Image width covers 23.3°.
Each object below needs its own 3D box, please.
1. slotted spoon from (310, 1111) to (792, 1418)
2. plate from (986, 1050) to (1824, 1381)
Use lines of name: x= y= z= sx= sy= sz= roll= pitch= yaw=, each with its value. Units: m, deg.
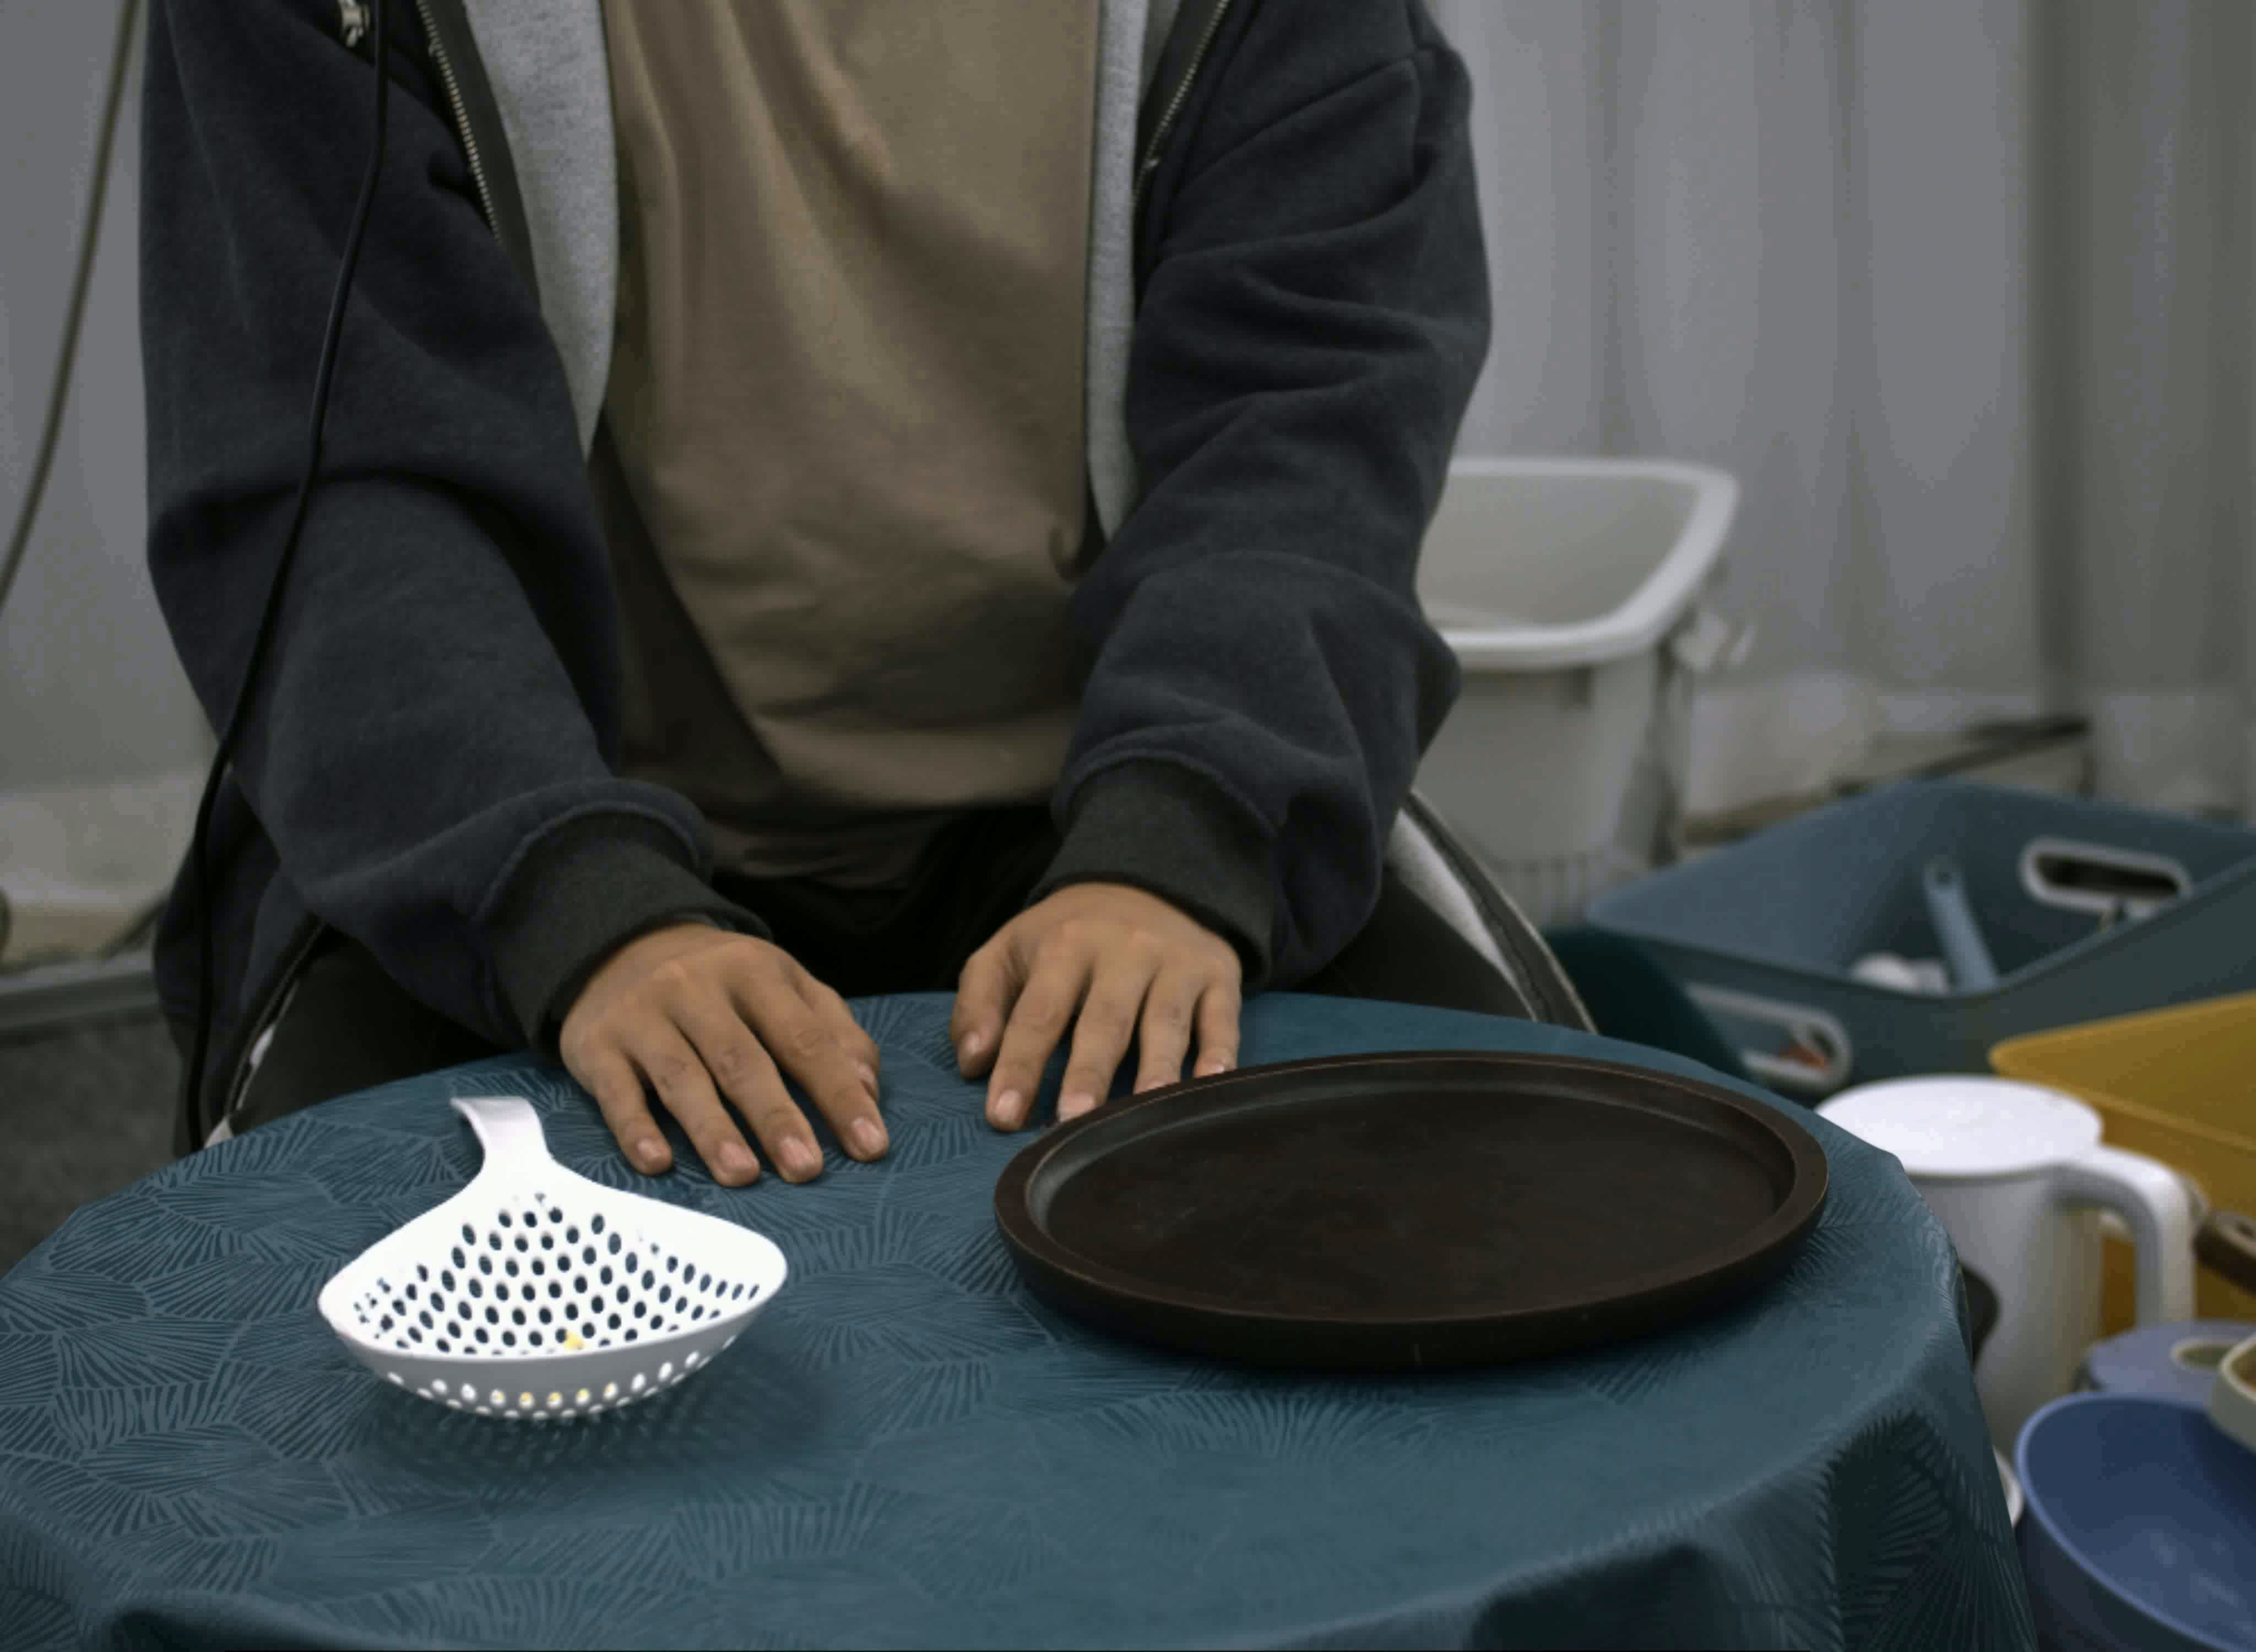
slotted spoon: x=-0.184 y=0.118 z=1.659 sx=0.136 sy=0.050 sz=0.350 roll=-8 pitch=16 yaw=-10
plate: x=0.084 y=0.115 z=1.653 sx=0.254 sy=0.029 sz=0.256 roll=-4 pitch=15 yaw=1
